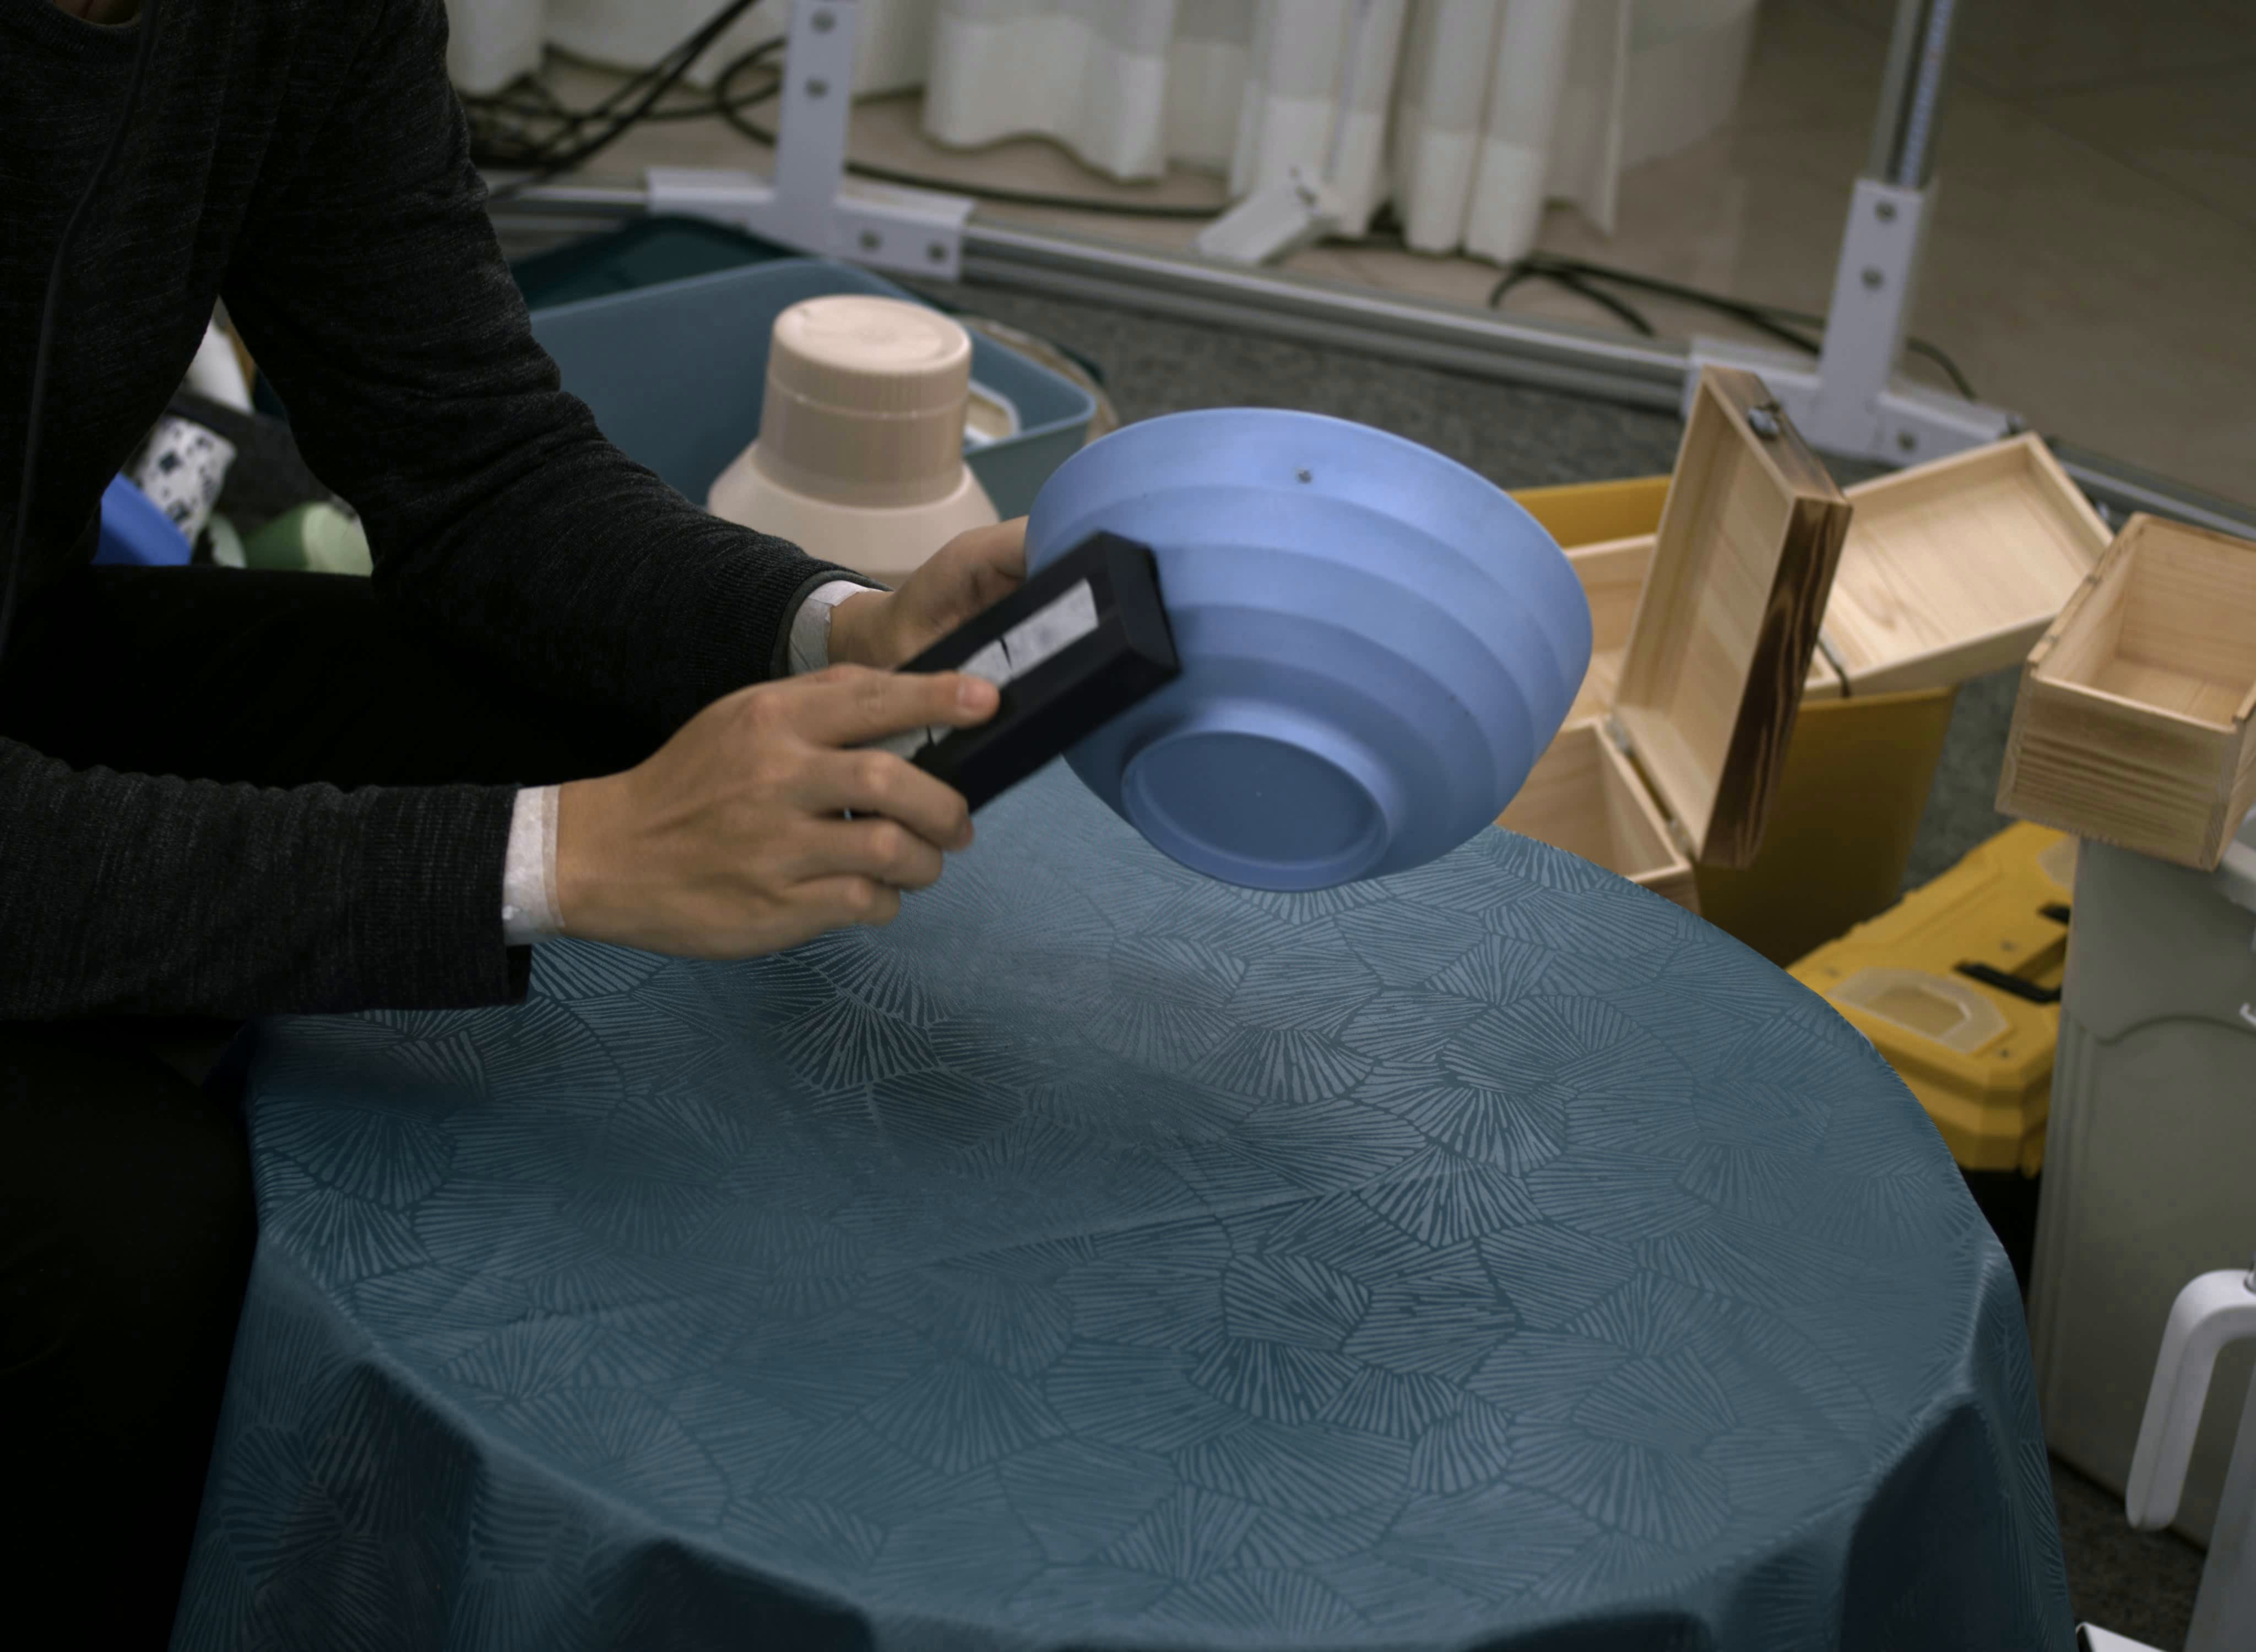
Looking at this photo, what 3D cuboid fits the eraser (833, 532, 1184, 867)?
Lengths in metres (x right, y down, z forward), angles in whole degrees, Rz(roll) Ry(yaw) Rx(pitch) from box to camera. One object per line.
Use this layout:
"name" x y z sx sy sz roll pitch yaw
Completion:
"eraser" -0.039 -0.041 1.729 0.030 0.125 0.054 28 36 -44

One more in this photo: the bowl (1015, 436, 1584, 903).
"bowl" 0.050 -0.037 1.789 0.196 0.195 0.096 9 61 4
